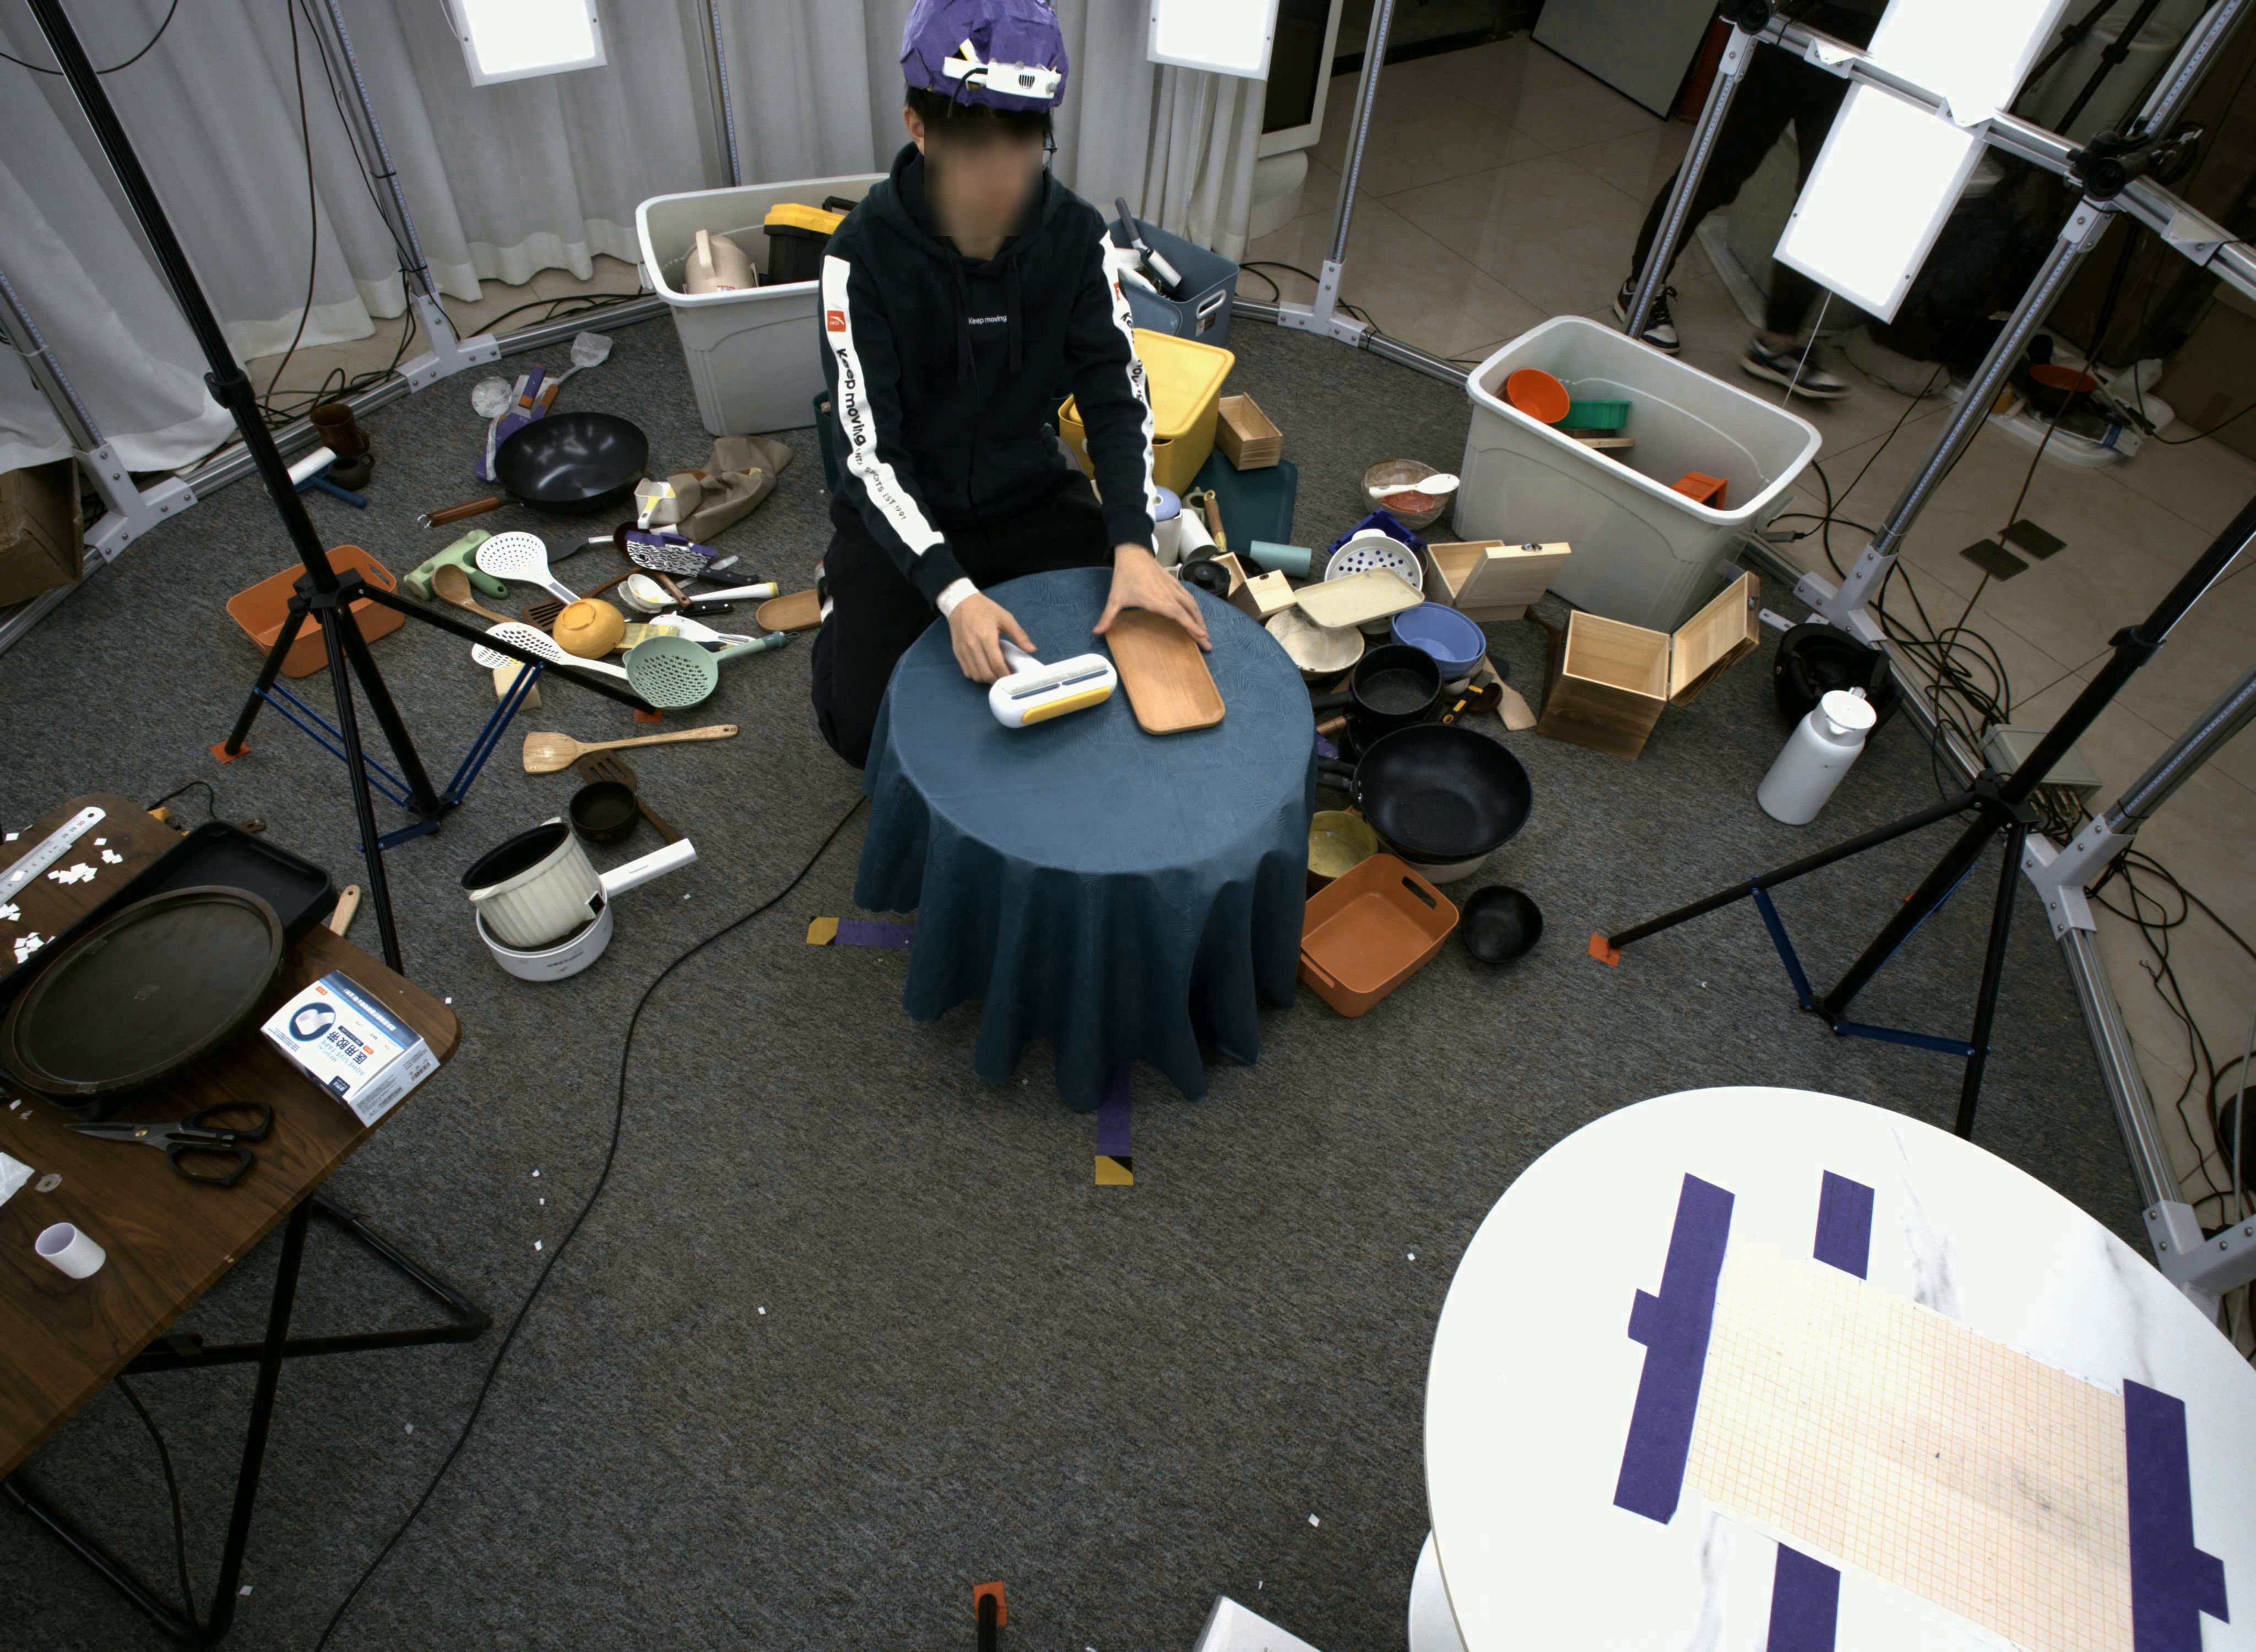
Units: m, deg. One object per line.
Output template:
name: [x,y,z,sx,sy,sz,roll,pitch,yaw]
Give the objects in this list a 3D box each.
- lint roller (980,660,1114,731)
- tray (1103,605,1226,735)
lint roller: [-0.139,-0.203,1.816,0.193,0.072,0.196,-17,38,-26]
tray: [0.049,-0.229,1.859,0.130,0.022,0.257,-8,50,-13]
